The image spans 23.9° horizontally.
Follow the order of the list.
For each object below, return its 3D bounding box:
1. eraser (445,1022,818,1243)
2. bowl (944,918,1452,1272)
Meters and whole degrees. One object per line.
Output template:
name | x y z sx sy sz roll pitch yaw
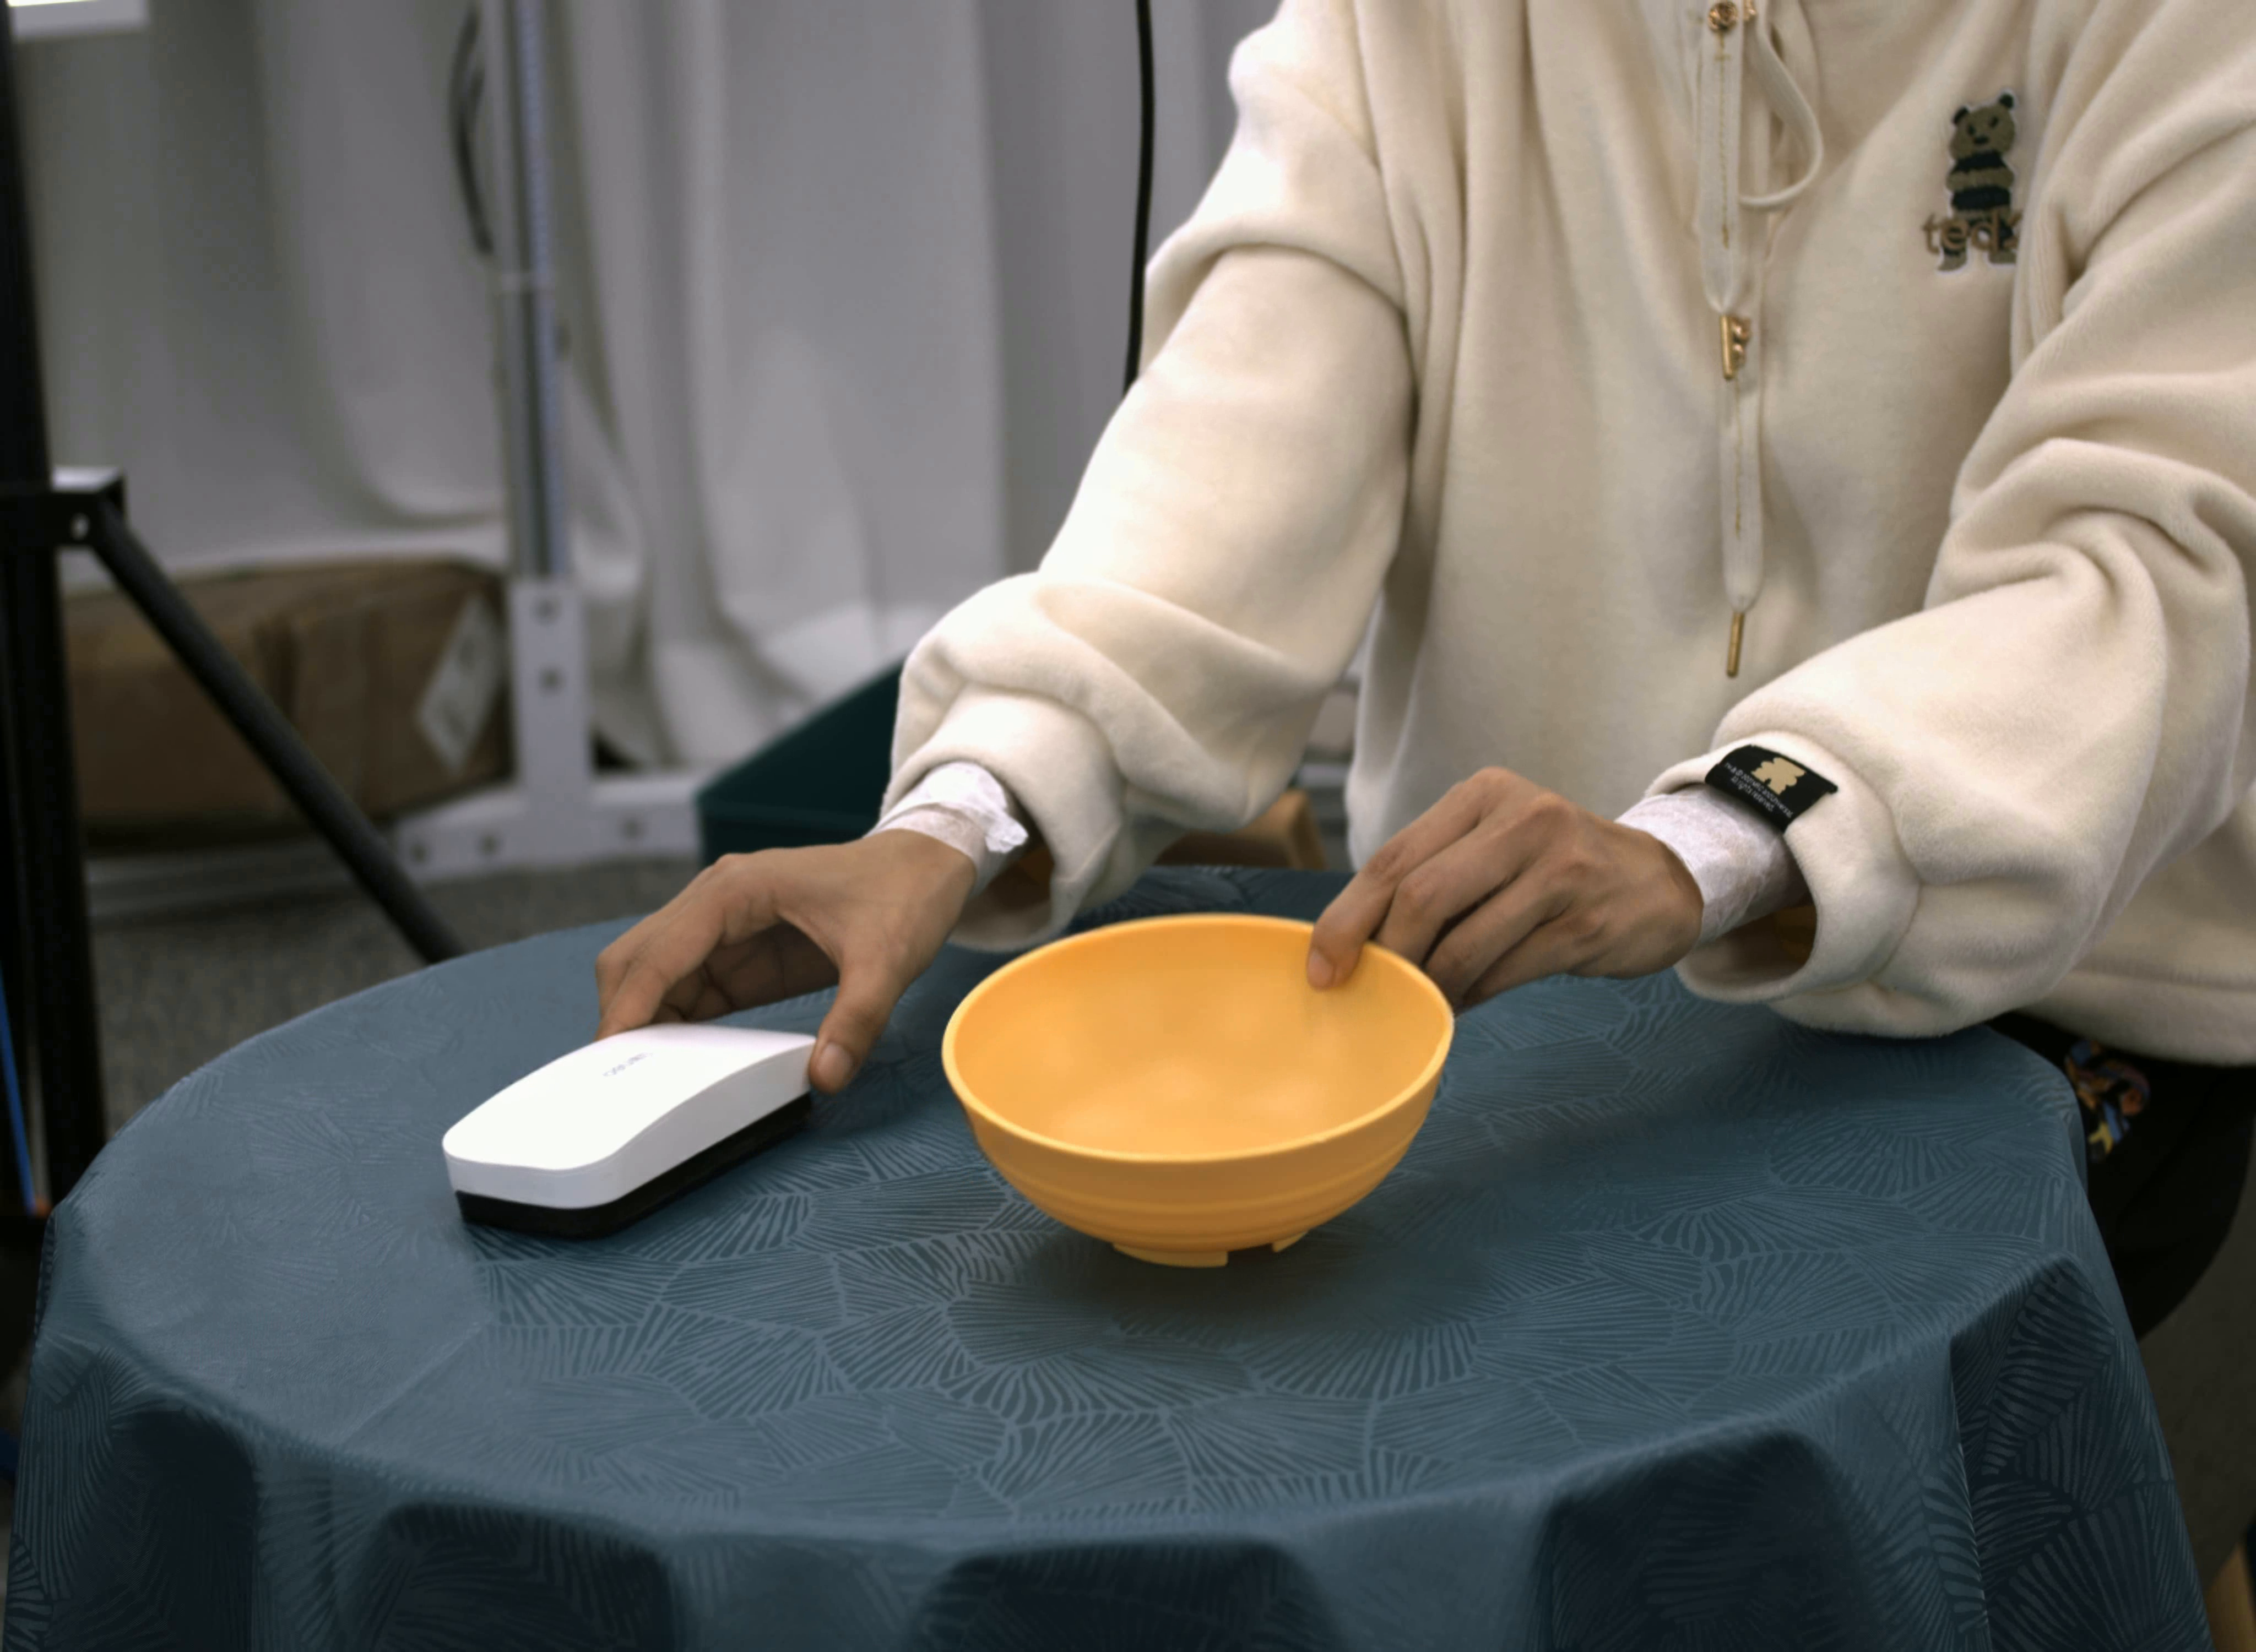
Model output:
eraser | -0.145 0.088 1.594 0.064 0.034 0.129 5 19 31
bowl | 0.022 0.085 1.510 0.145 0.060 0.146 -5 26 1
